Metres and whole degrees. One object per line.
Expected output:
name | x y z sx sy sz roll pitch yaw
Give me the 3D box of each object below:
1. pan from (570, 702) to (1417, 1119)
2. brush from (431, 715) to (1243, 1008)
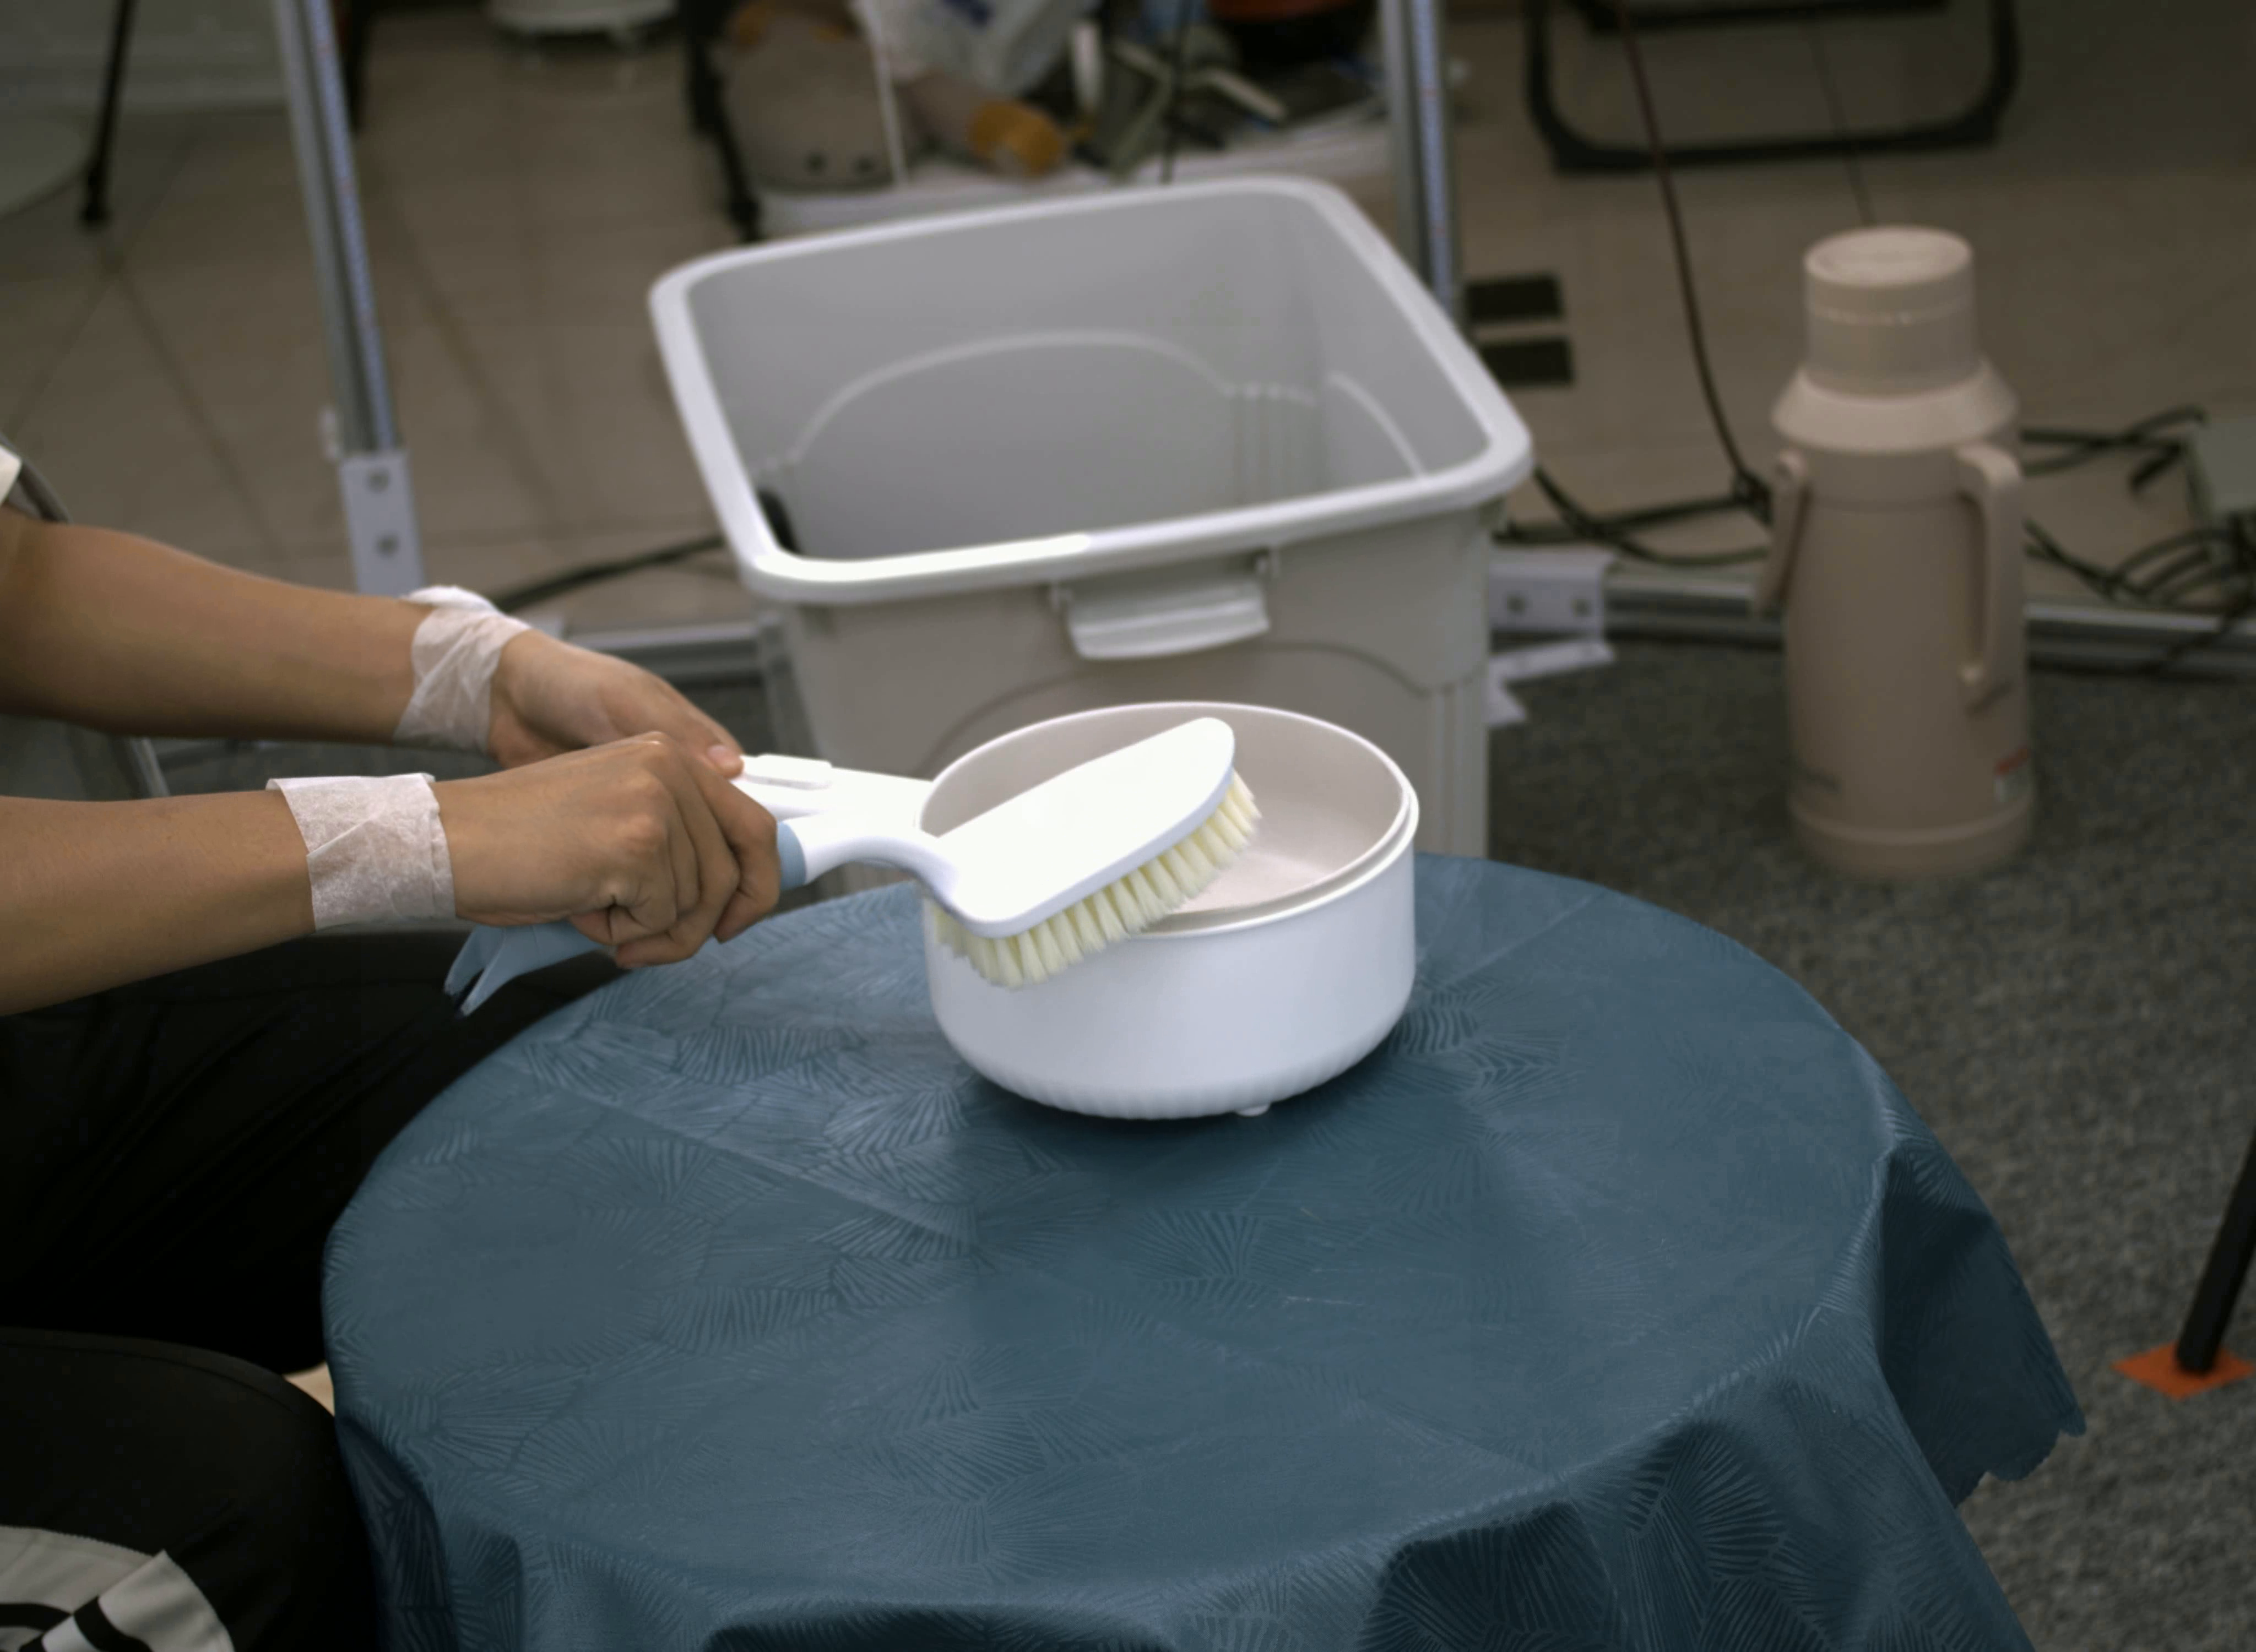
pan | -0.056 0.029 2.265 0.353 0.104 0.198 7 28 21
brush | -0.103 0.037 2.080 0.324 0.084 0.083 -18 -5 -23
